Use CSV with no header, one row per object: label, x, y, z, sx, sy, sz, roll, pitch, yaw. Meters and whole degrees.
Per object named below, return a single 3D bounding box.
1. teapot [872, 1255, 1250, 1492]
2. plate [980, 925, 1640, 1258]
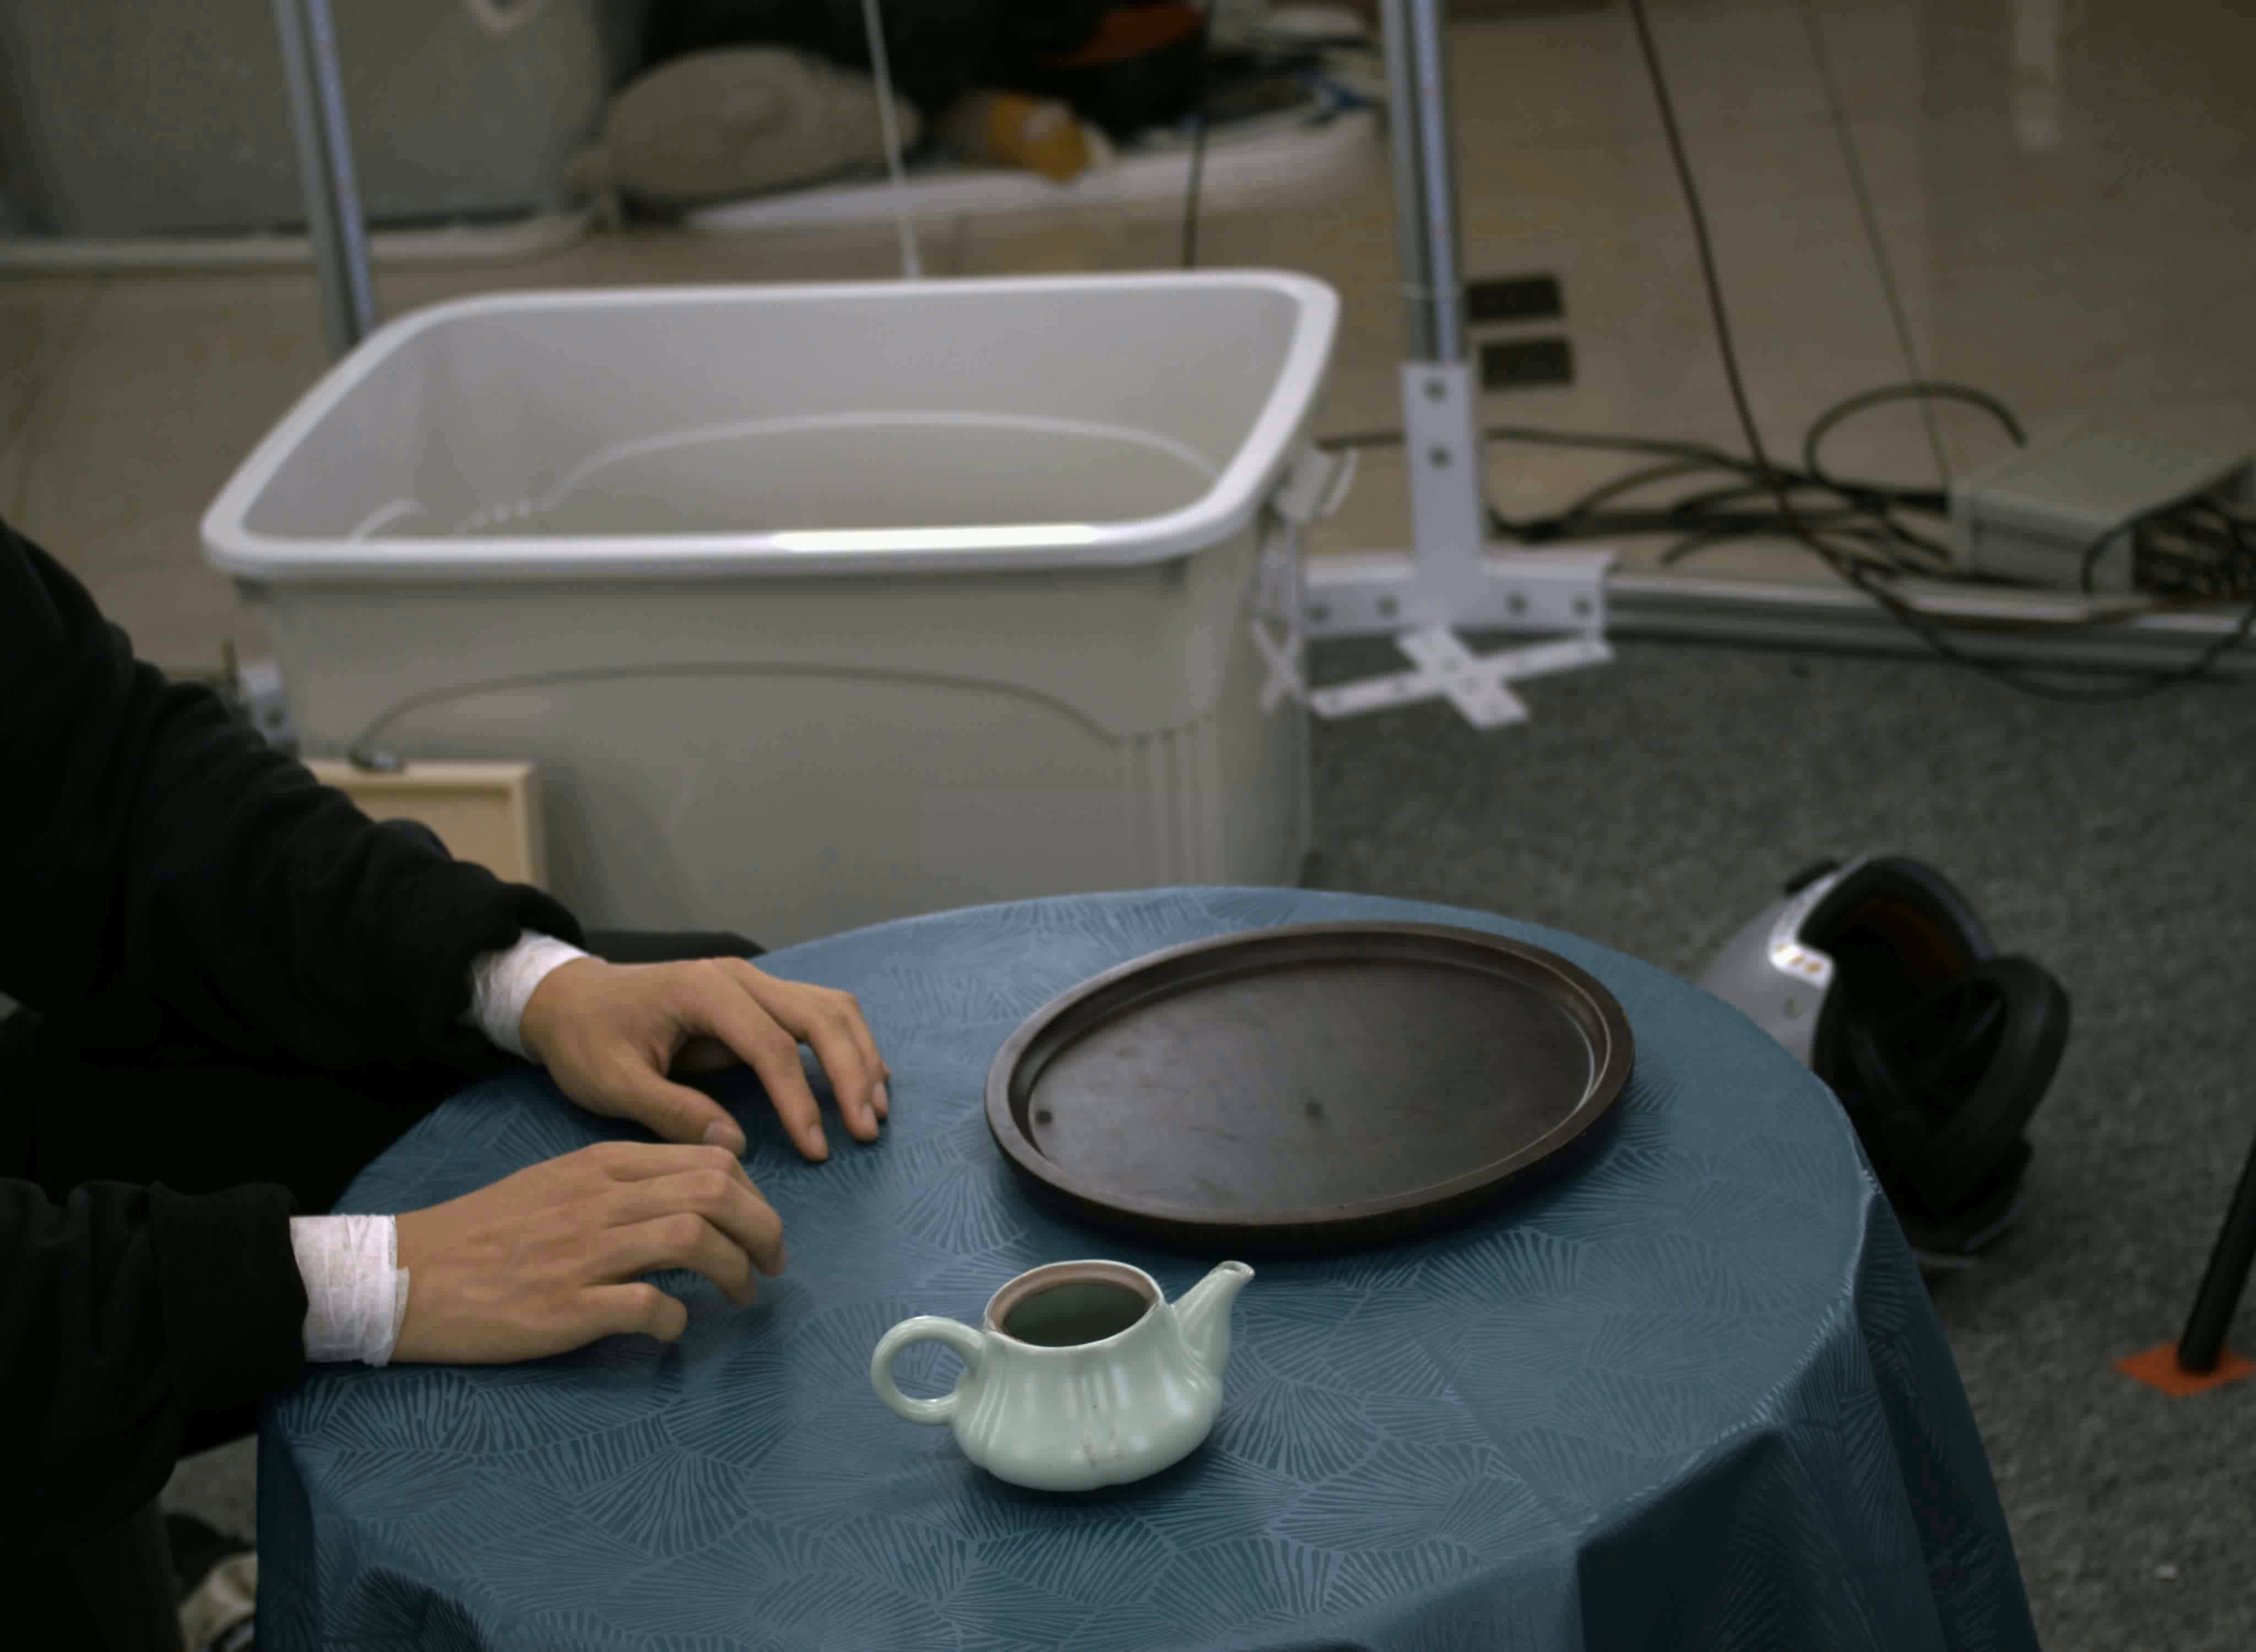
teapot,-0.021,0.190,1.974,0.136,0.062,0.095,-11,27,-9
plate,0.071,0.100,2.187,0.254,0.029,0.251,-5,26,2
